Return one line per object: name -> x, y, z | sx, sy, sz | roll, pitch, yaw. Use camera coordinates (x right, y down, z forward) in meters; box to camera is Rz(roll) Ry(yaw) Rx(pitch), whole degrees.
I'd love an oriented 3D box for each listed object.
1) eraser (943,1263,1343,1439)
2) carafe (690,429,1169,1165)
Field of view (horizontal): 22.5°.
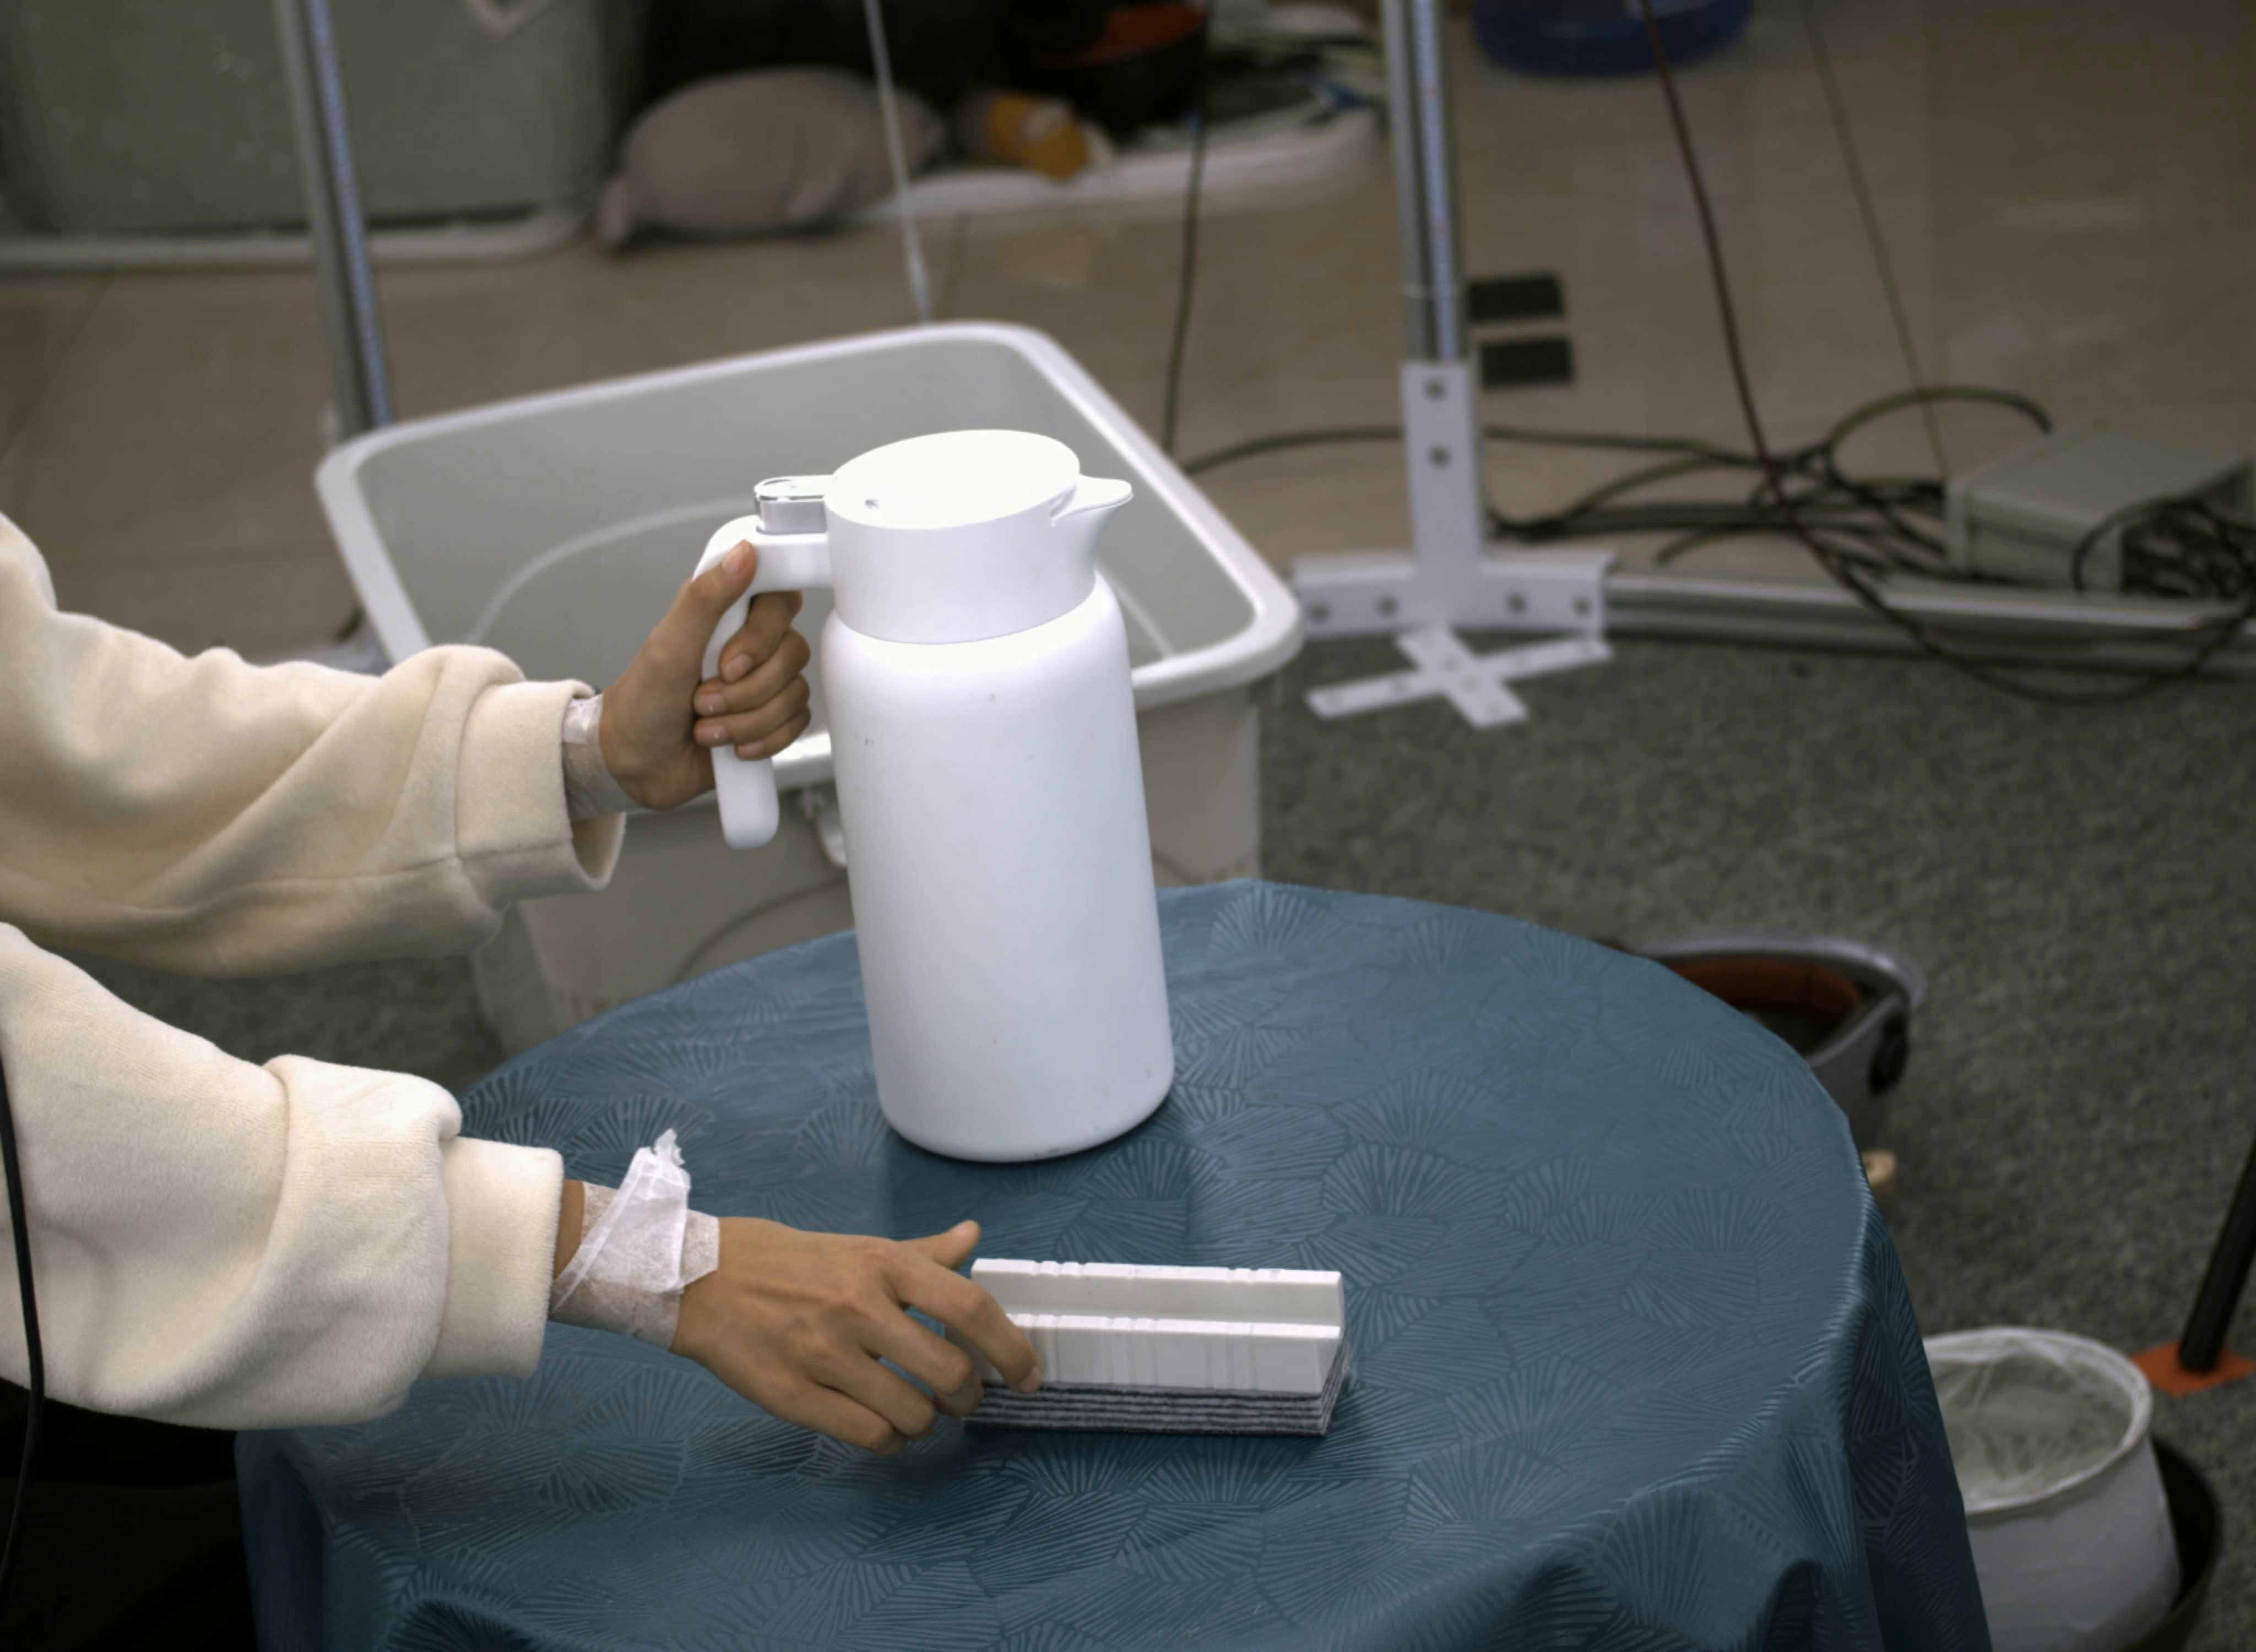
eraser -> 0.006, 0.184, 1.993 | 0.134, 0.047, 0.049 | -1, 28, 11
carafe -> -0.071, -0.010, 2.165 | 0.172, 0.273, 0.122 | -3, 28, 8
